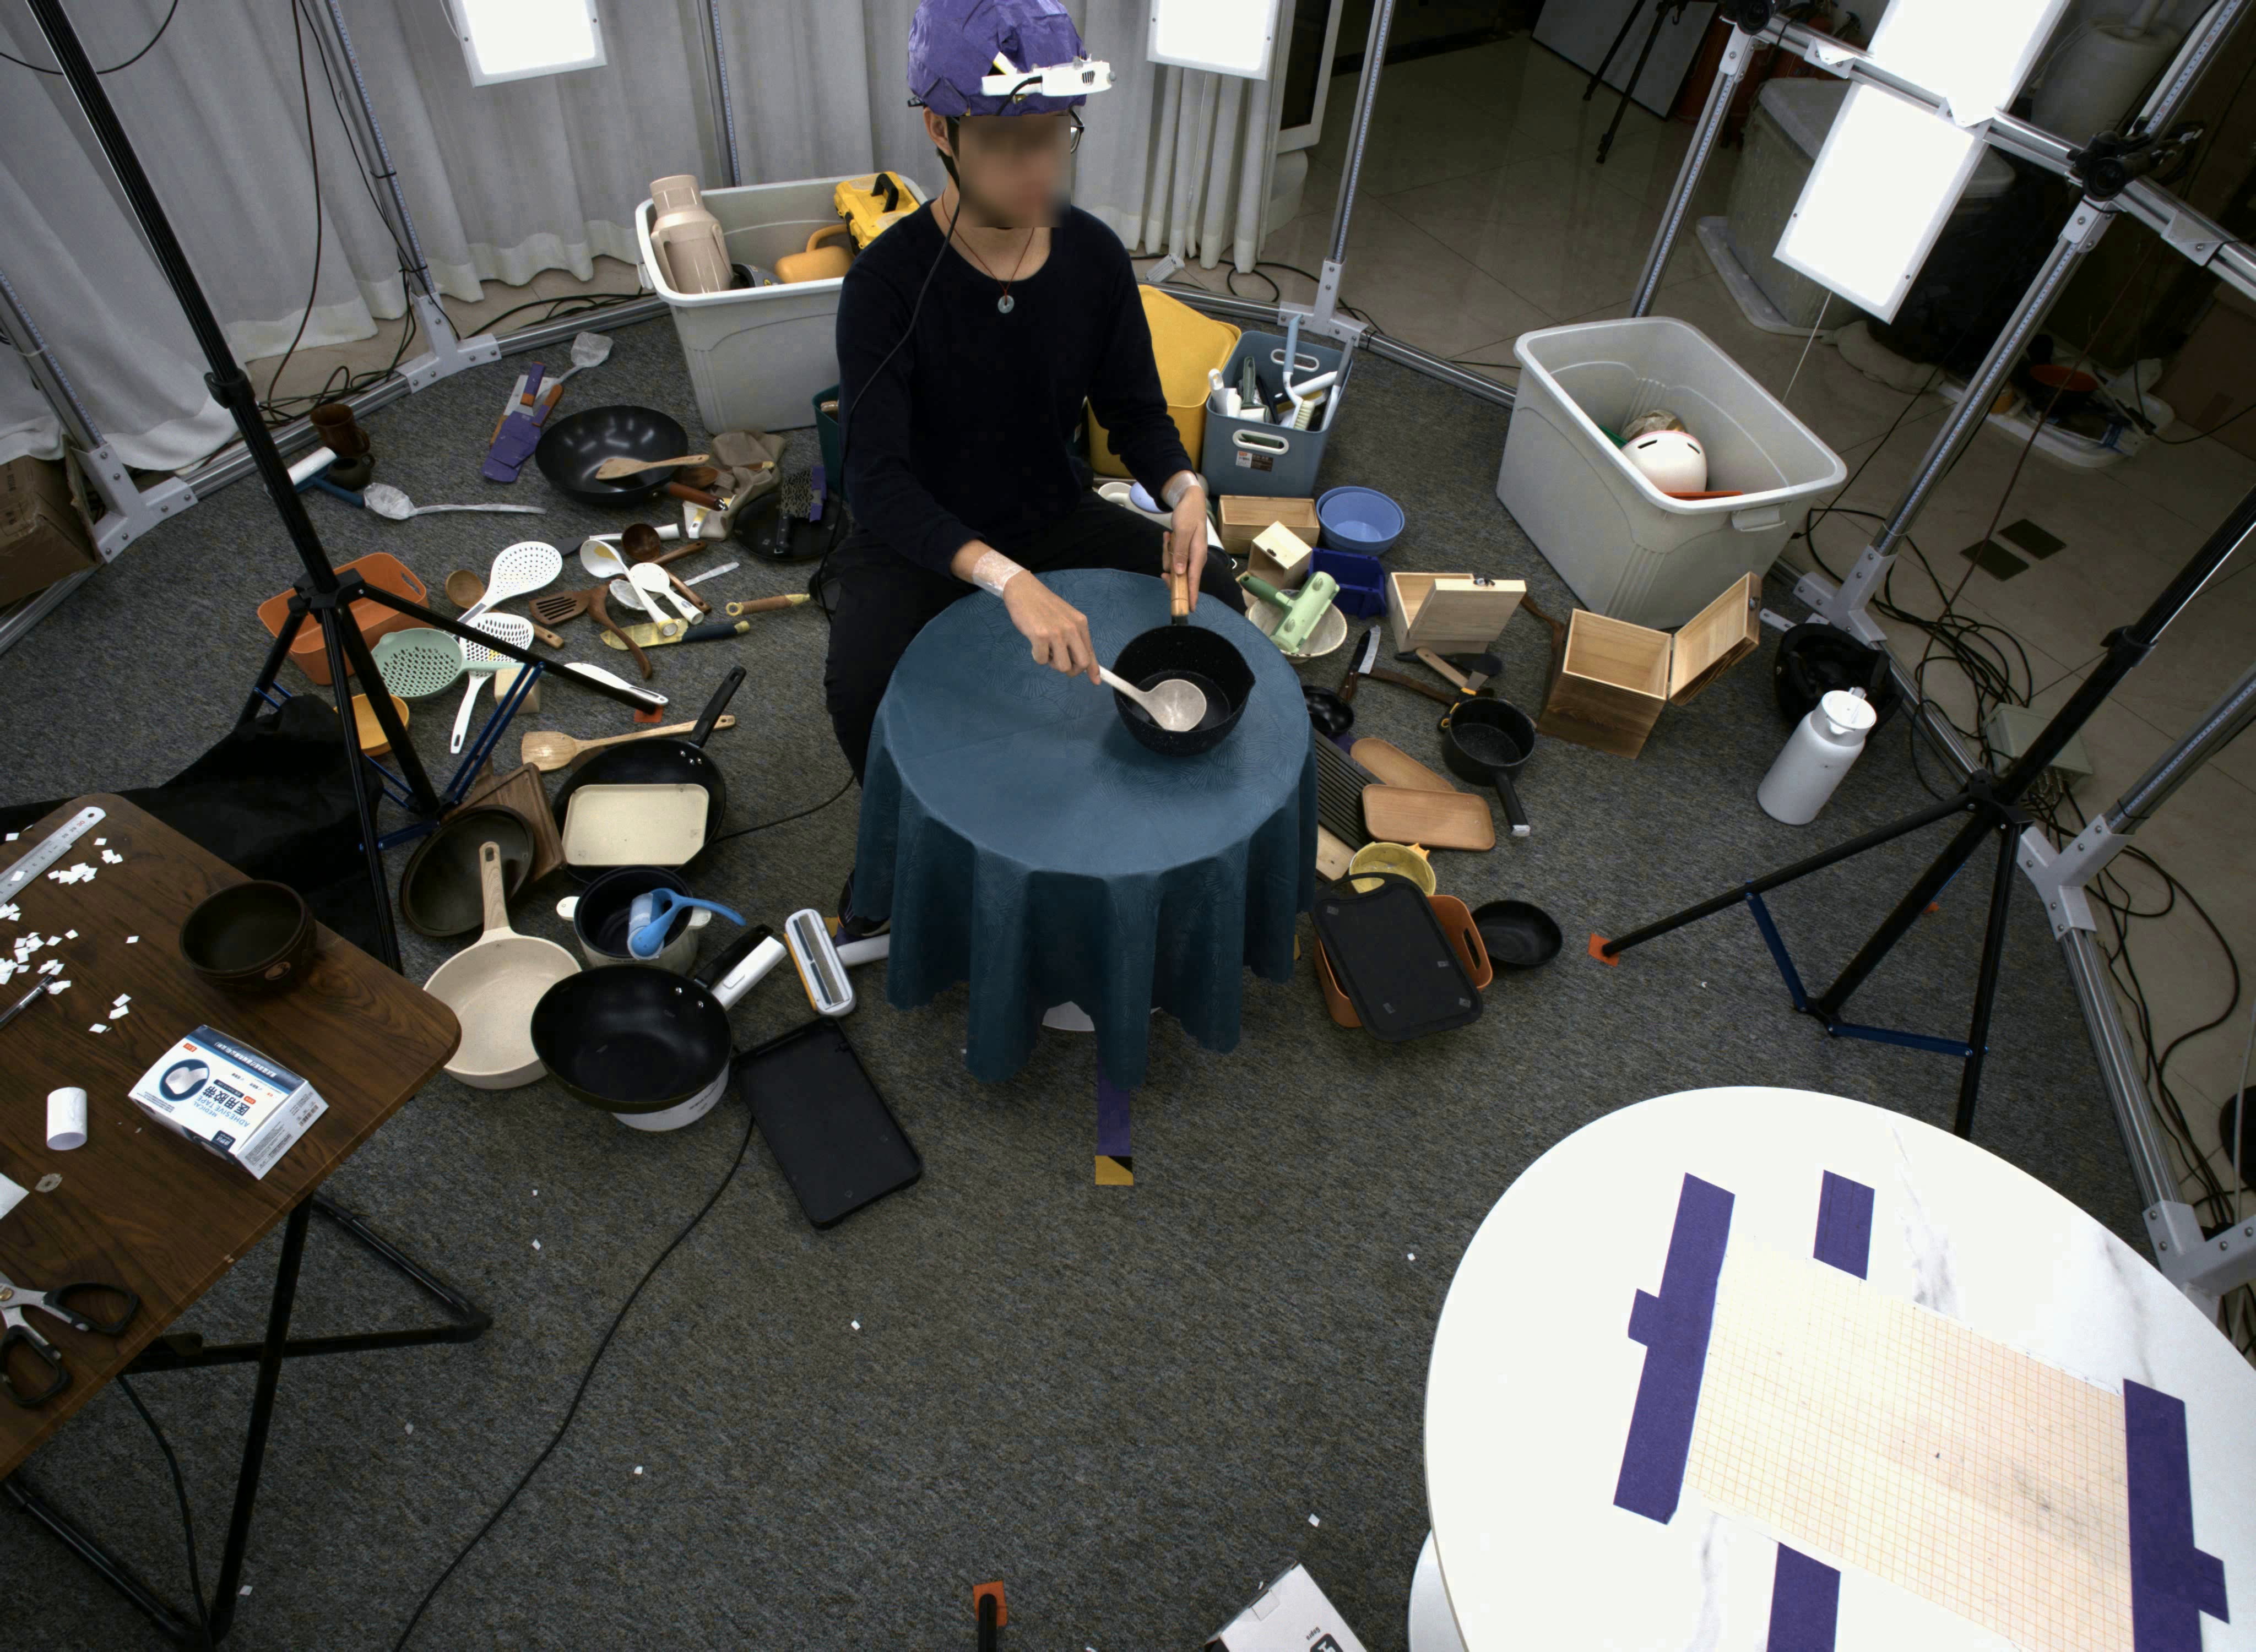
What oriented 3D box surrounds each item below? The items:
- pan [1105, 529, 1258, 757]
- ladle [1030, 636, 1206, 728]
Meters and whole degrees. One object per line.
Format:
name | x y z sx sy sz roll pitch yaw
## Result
pan | 0.071 -0.255 1.798 0.207 0.106 0.350 -1 58 -1
ladle | -0.007 -0.200 1.695 0.270 0.069 0.091 26 53 -41
